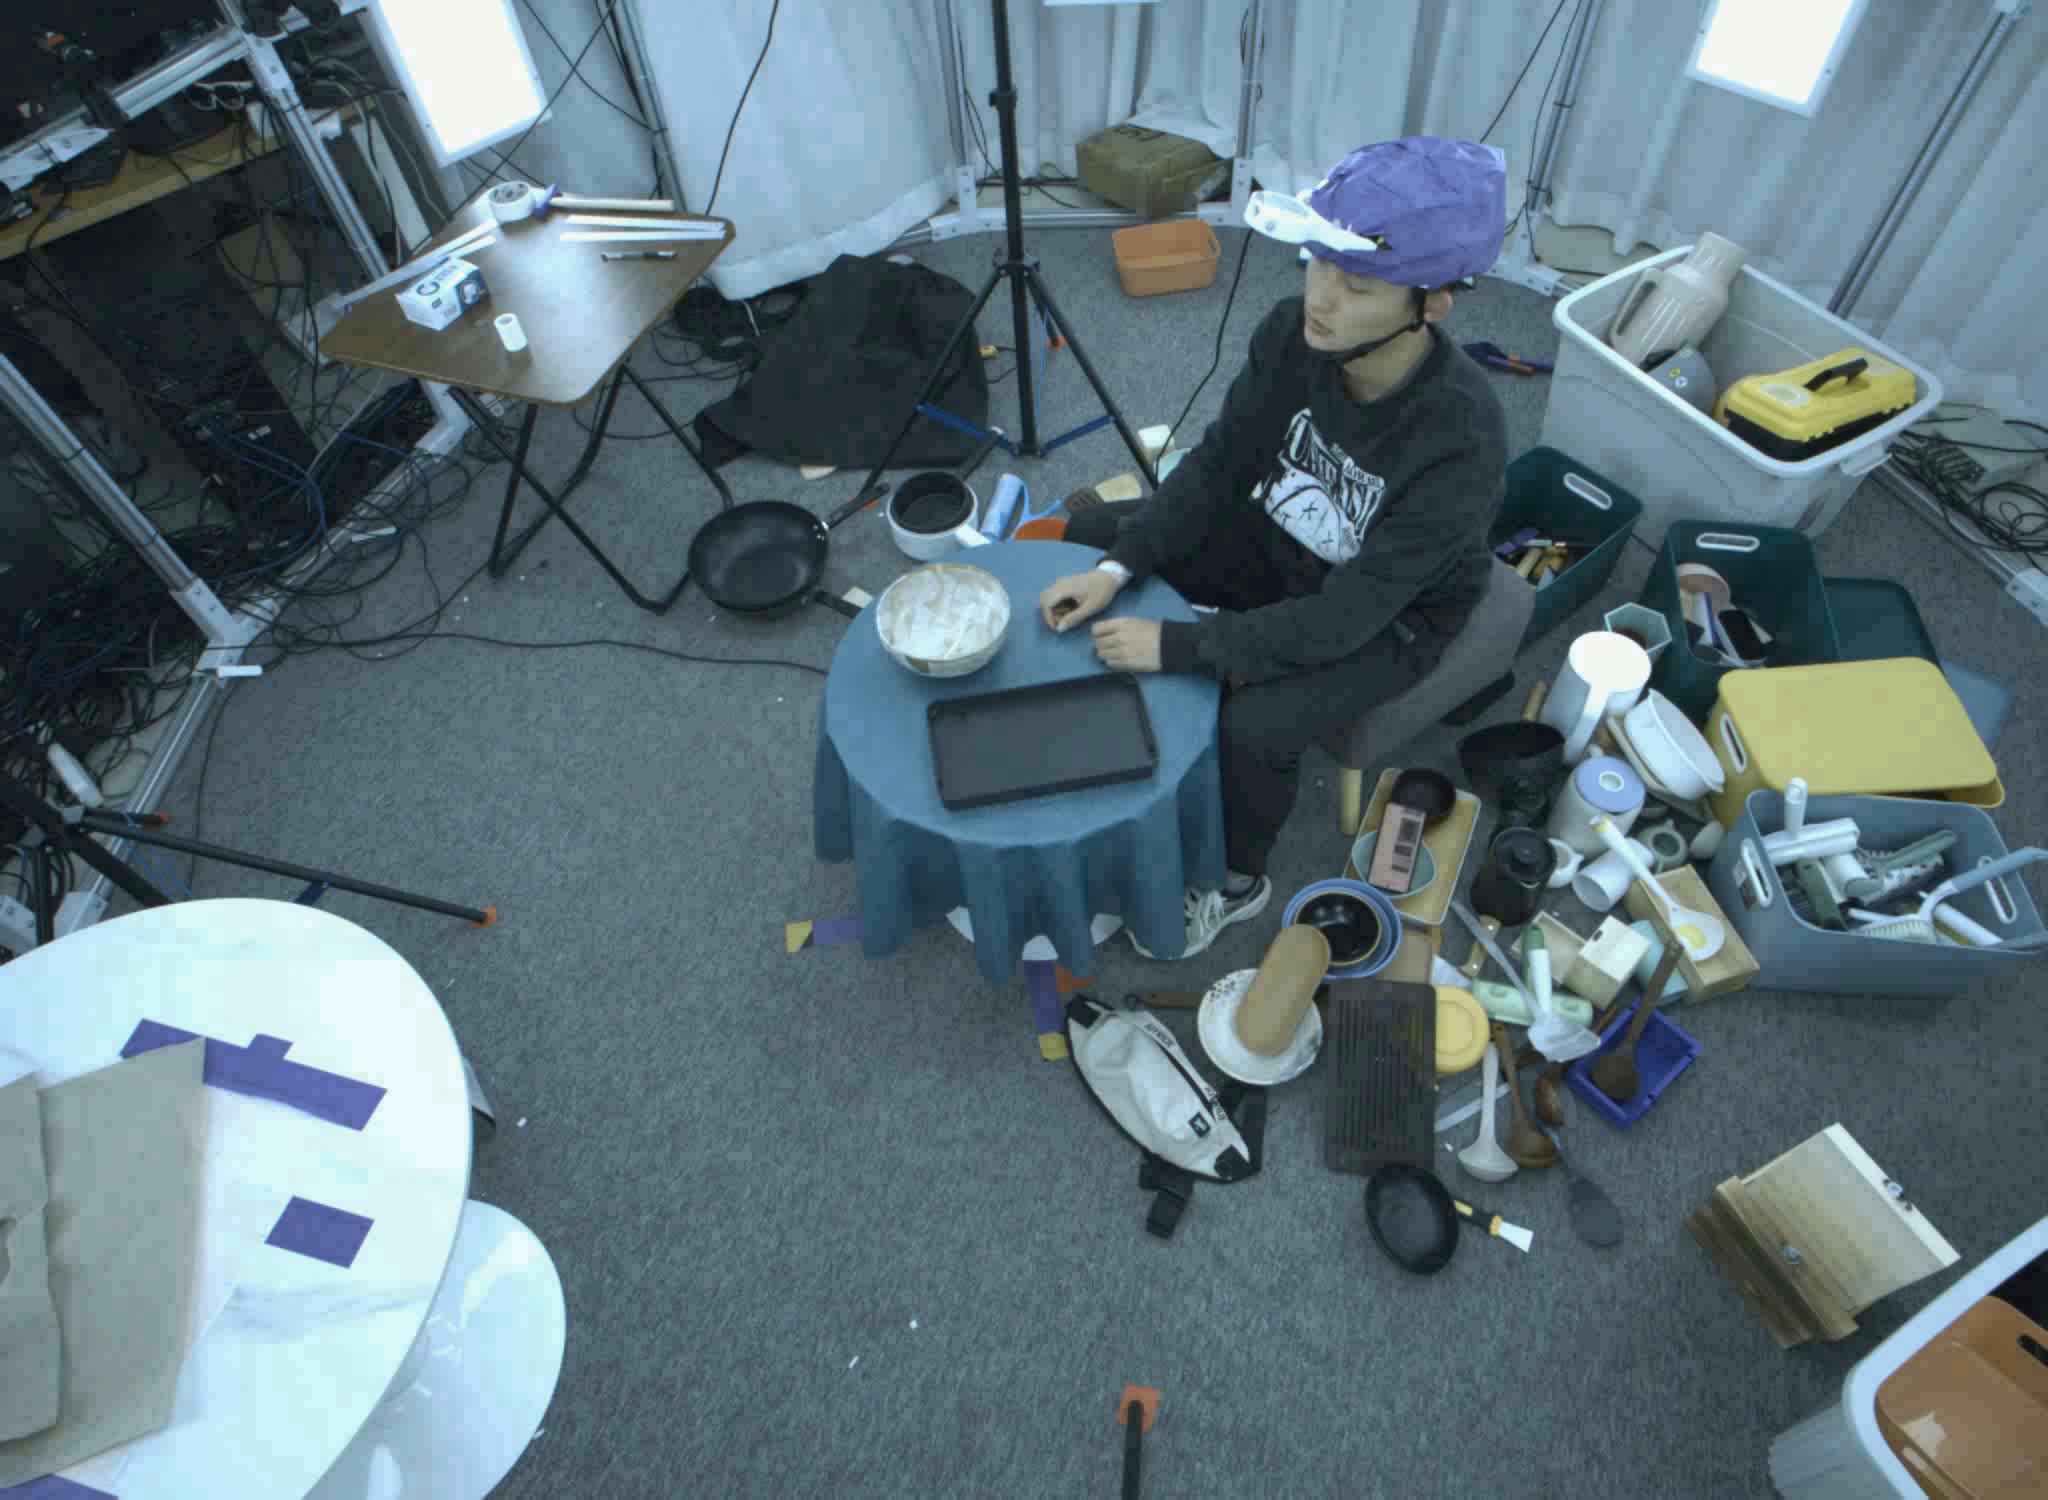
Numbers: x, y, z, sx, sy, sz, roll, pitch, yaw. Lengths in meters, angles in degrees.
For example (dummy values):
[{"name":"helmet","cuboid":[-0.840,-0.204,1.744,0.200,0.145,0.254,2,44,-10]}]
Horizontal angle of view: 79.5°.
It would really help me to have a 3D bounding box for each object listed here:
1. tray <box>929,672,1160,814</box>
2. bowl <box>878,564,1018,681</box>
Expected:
[{"name":"tray","cuboid":[0.027,-0.011,1.786,0.319,0.037,0.182,-9,56,-3]},{"name":"bowl","cuboid":[-0.112,-0.176,1.868,0.214,0.095,0.212,-1,54,2]}]
